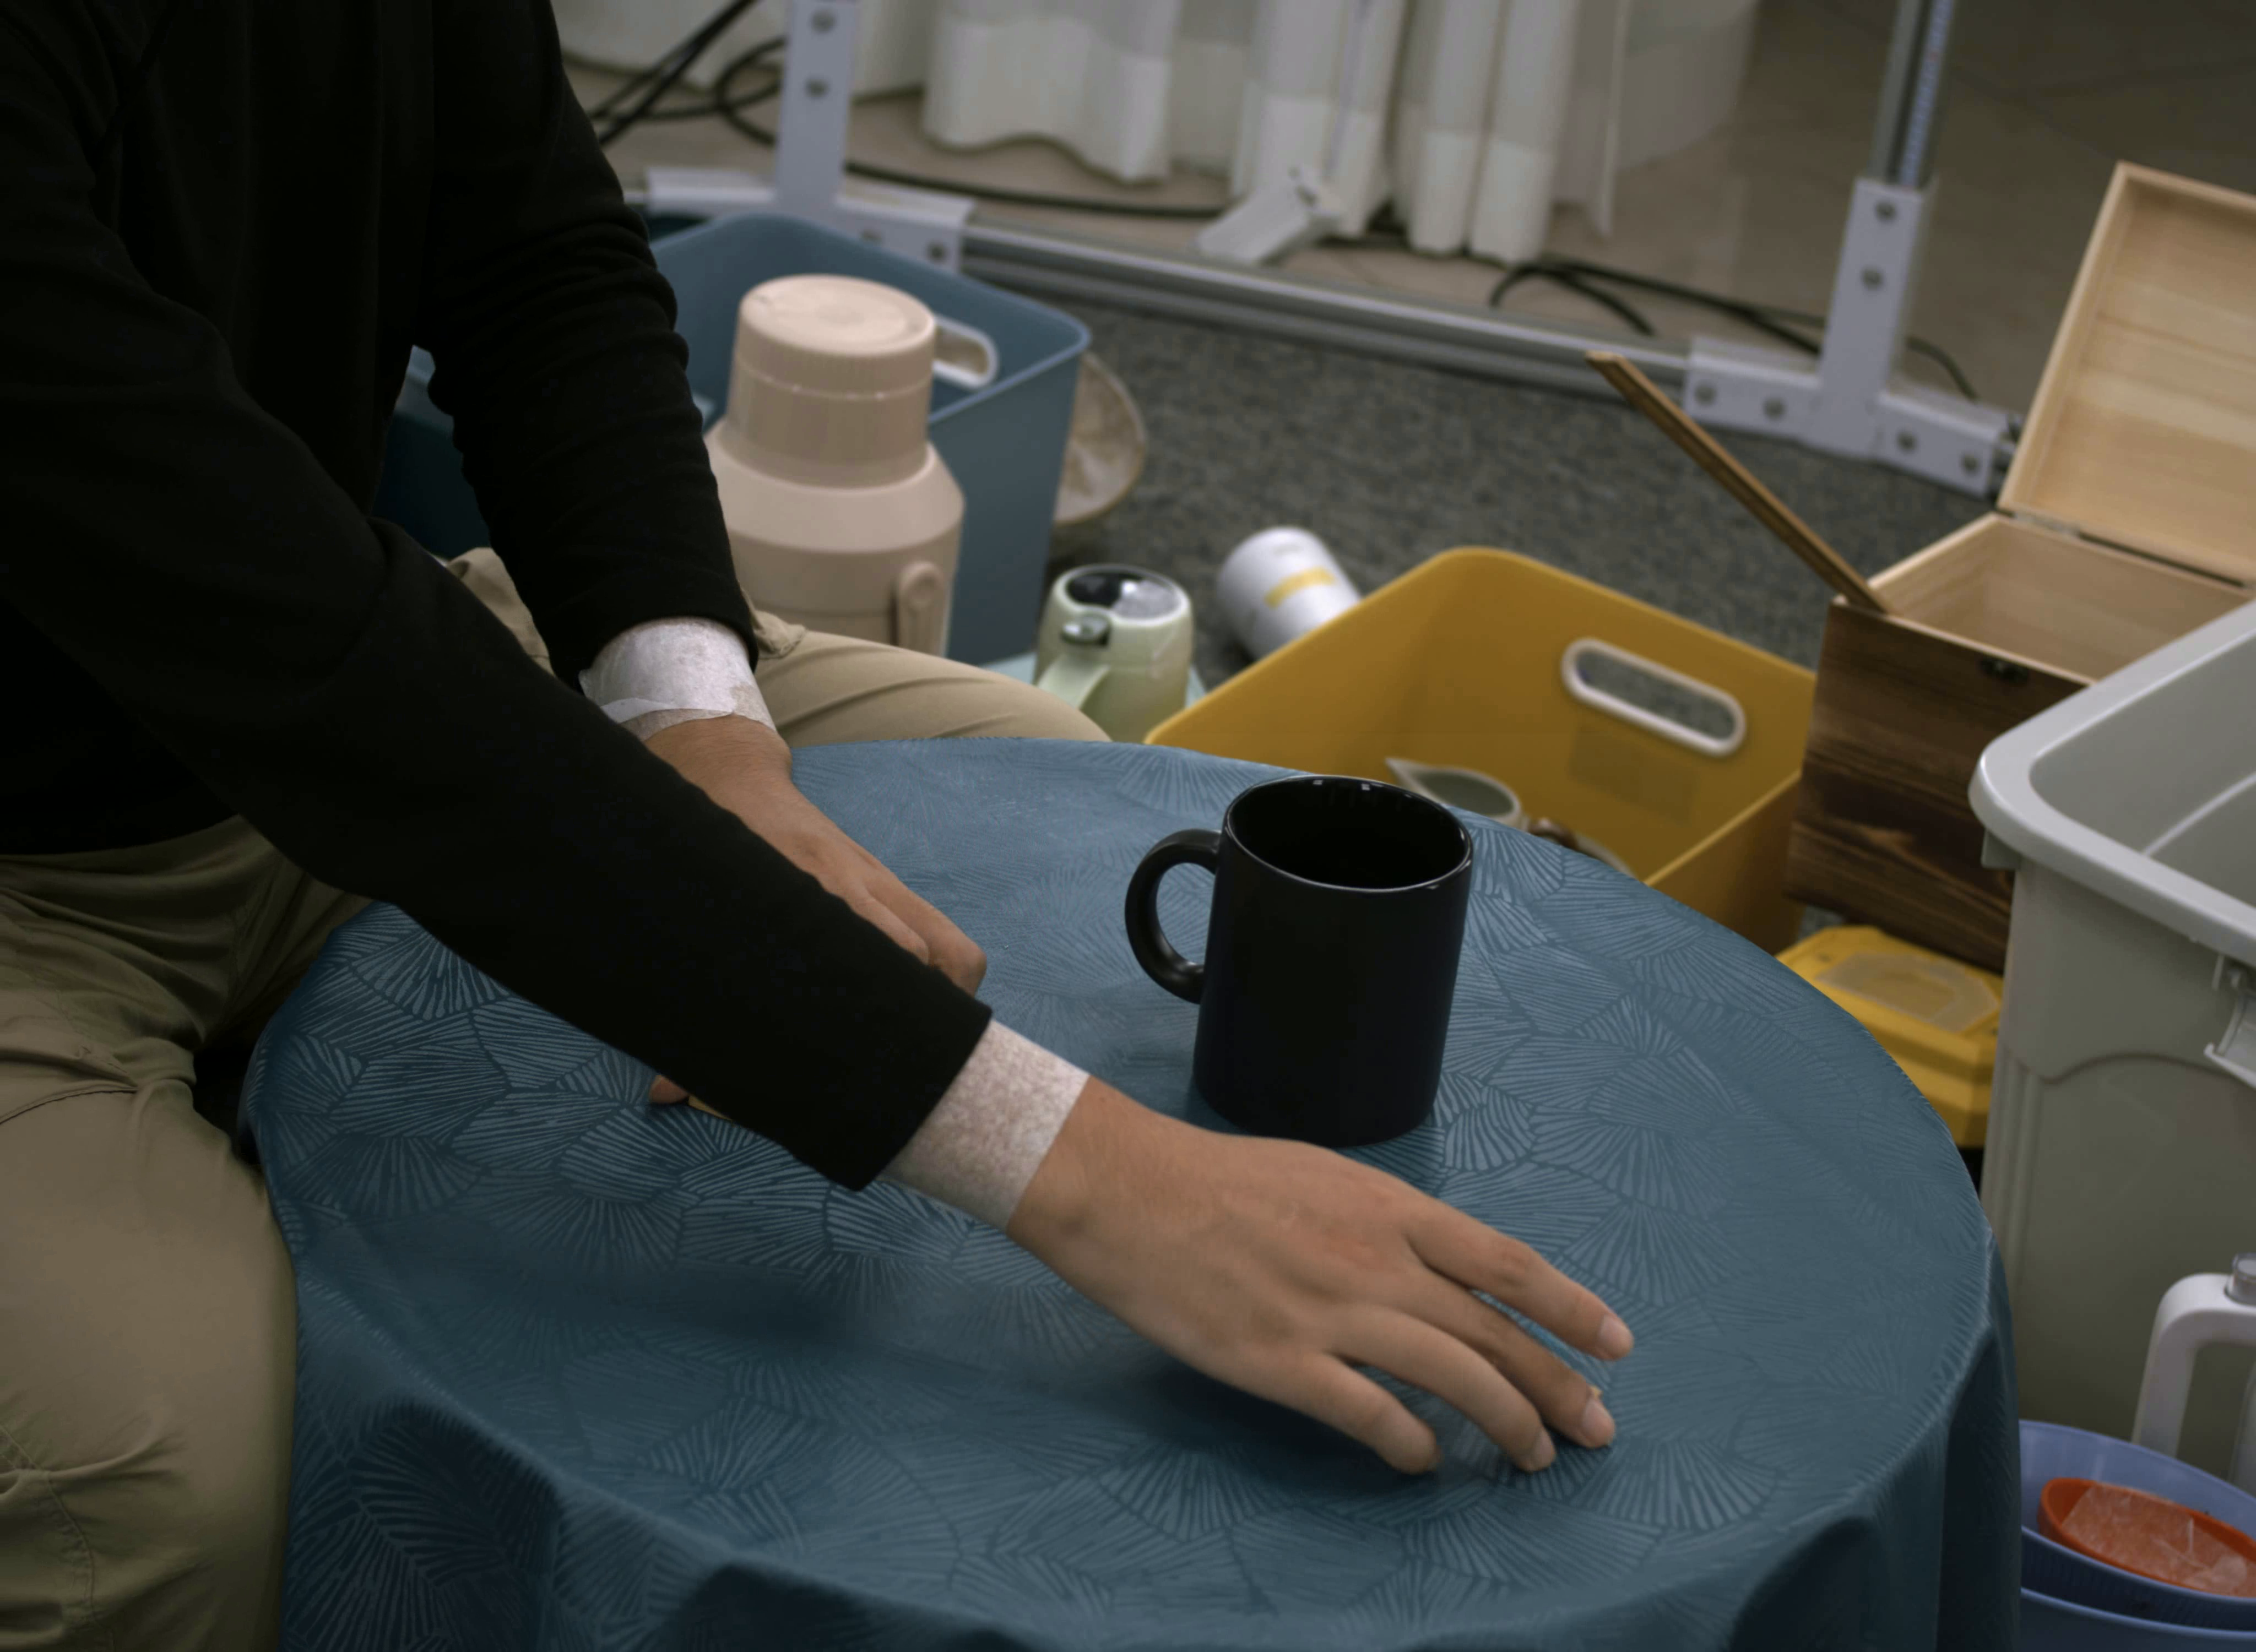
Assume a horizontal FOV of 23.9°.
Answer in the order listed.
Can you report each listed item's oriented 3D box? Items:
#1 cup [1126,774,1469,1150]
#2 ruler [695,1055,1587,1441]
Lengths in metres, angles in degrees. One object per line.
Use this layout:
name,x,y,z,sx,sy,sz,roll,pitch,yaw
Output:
cup,0.055,0.042,1.862,0.124,0.105,0.088,18,31,23
ruler,0.000,0.135,1.768,0.333,0.022,0.027,20,26,24
